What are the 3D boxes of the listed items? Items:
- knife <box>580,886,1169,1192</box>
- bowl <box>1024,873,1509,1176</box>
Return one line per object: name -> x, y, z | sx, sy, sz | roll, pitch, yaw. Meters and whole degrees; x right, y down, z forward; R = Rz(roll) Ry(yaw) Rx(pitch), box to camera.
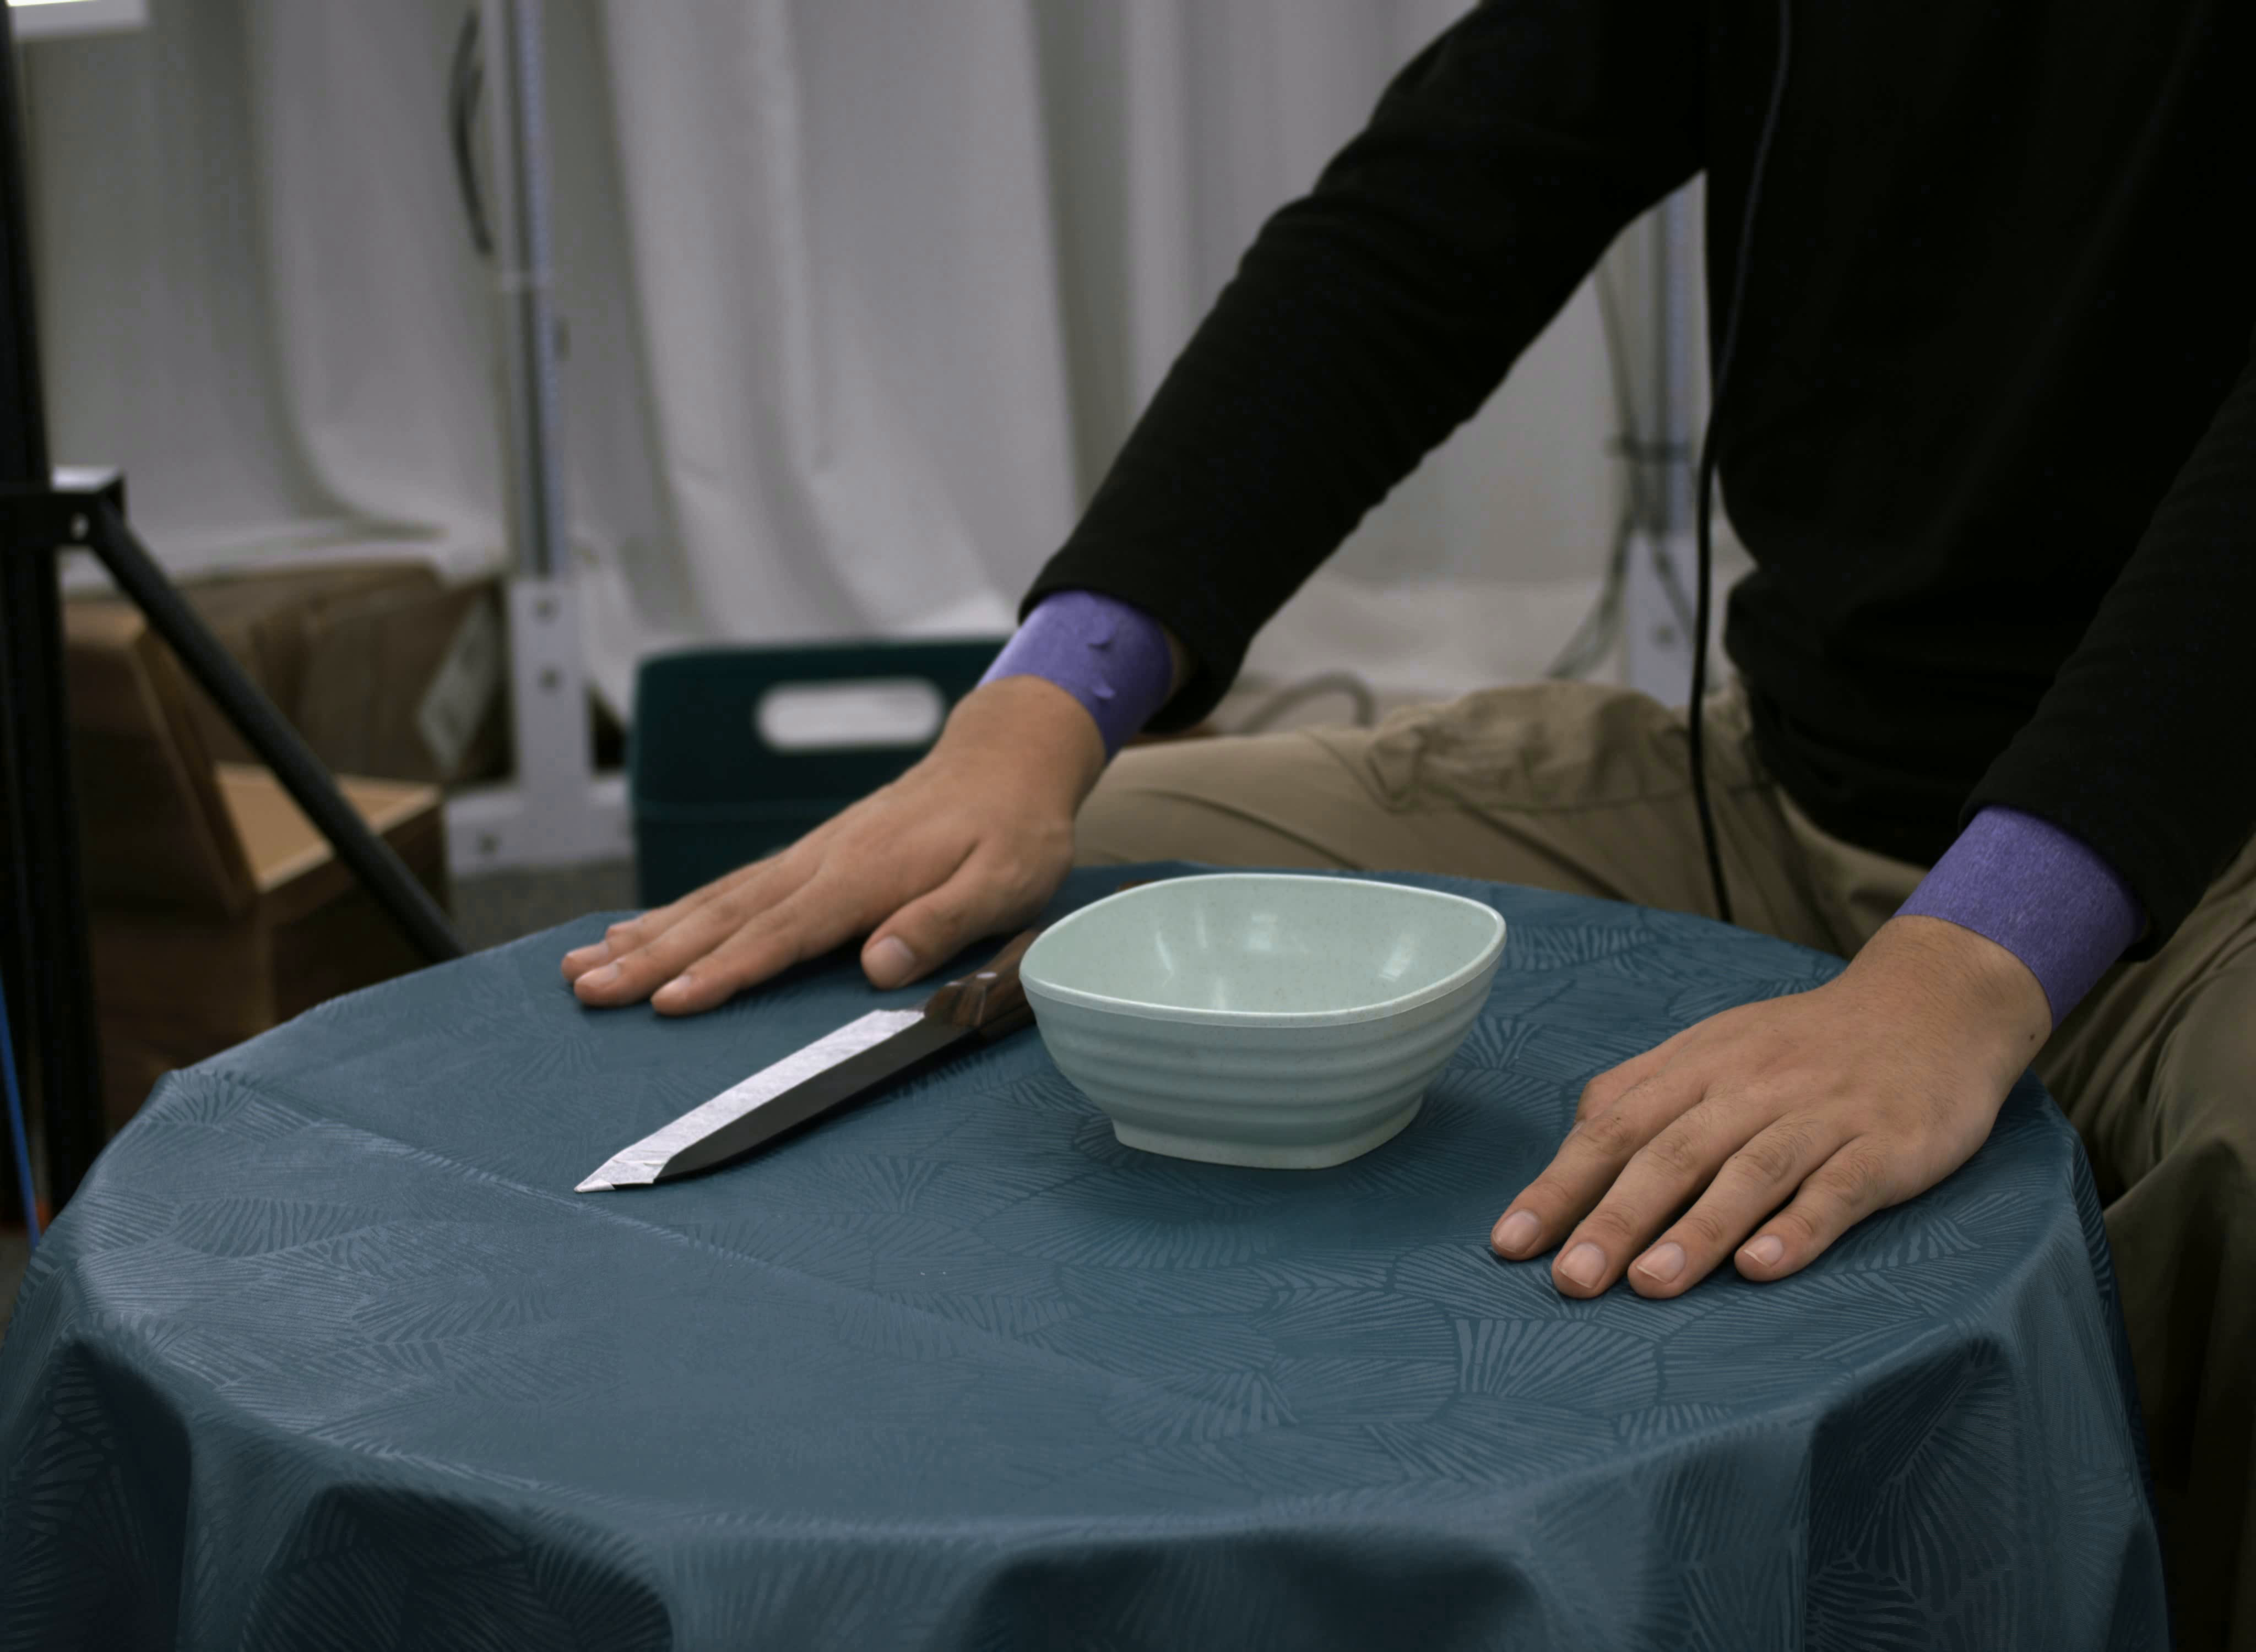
knife -> -0.073, 0.068, 1.681 | 0.051, 0.020, 0.283 | 4, 19, 38
bowl -> 0.043, 0.063, 1.605 | 0.151, 0.058, 0.152 | -4, 17, 0
